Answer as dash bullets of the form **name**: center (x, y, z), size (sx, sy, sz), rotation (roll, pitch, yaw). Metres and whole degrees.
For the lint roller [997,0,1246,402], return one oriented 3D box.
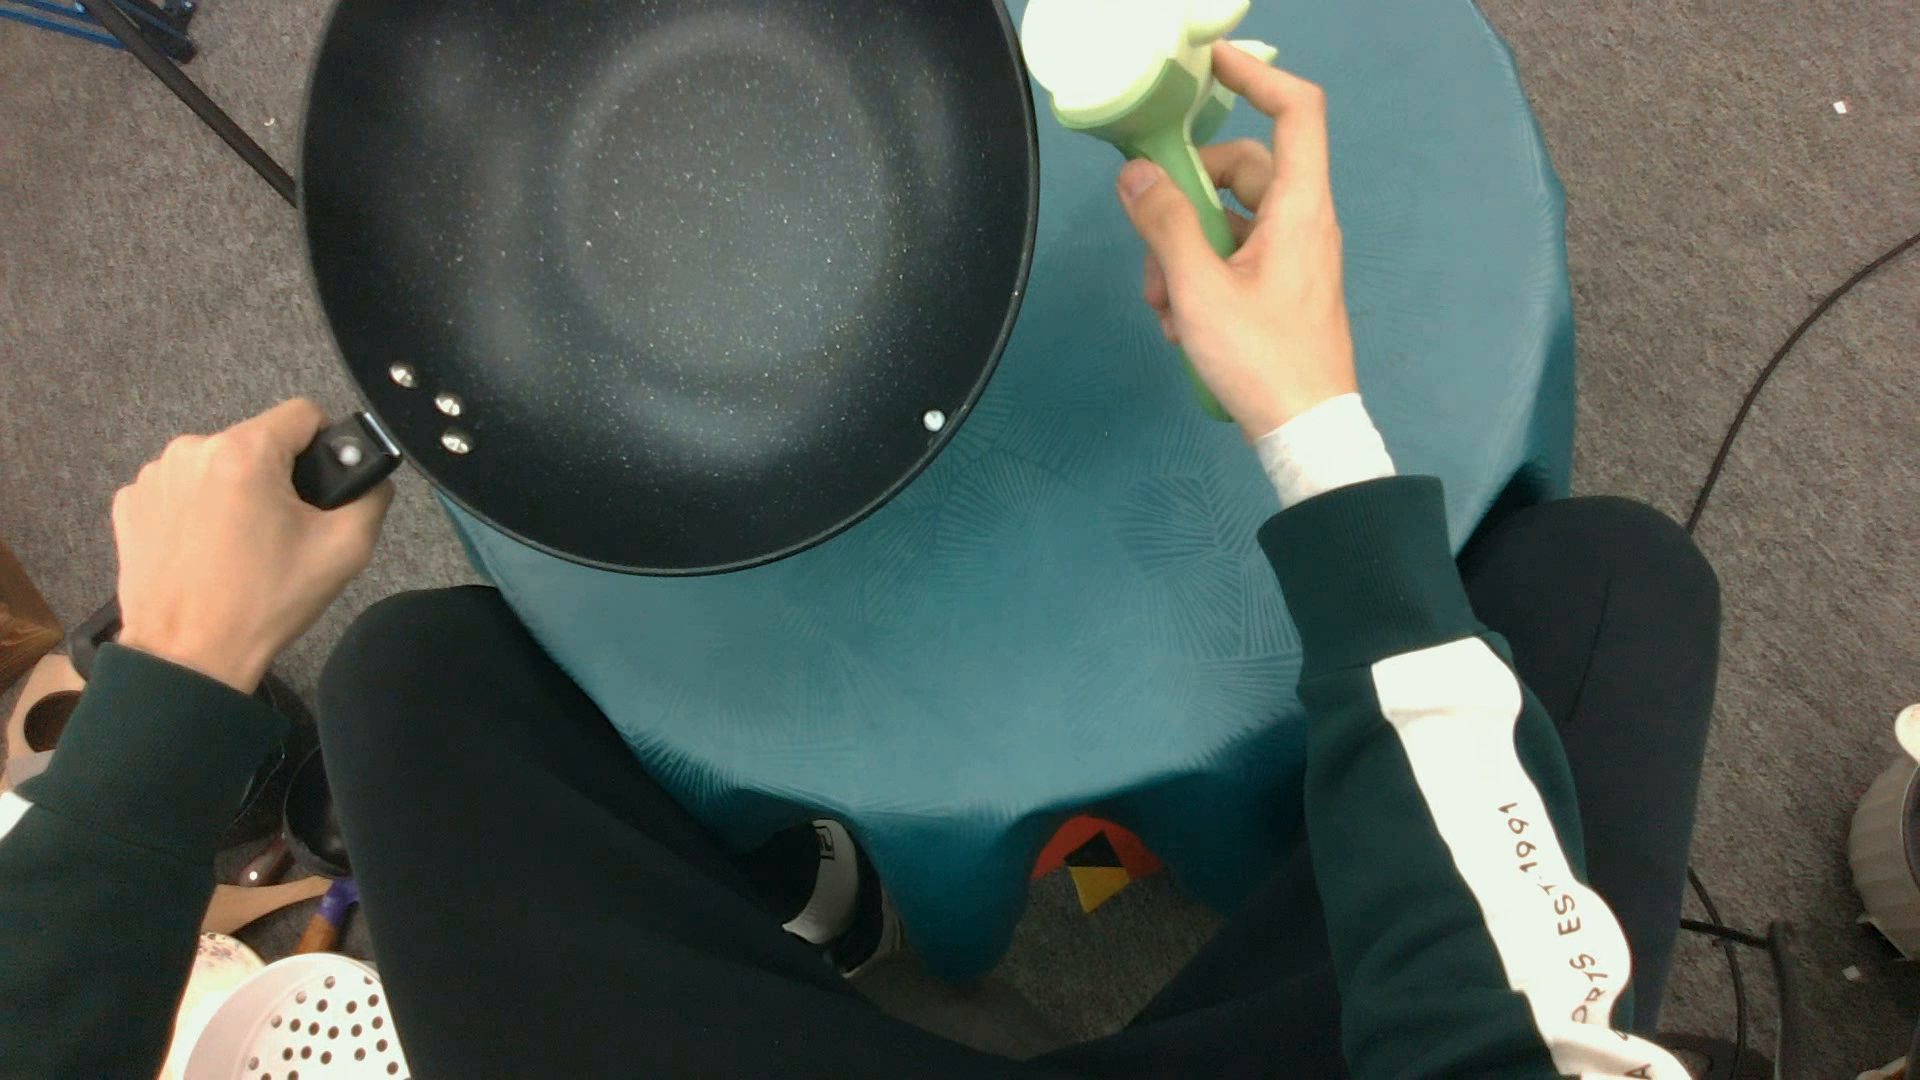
- **lint roller**: center (0.092, -0.152, 0.555), size (0.082, 0.199, 0.183), rotation (-28, 93, 19)

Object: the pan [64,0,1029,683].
- **pan**: center (-0.185, -0.098, 0.585), size (0.476, 0.112, 0.310), rotation (-39, 88, 12)
